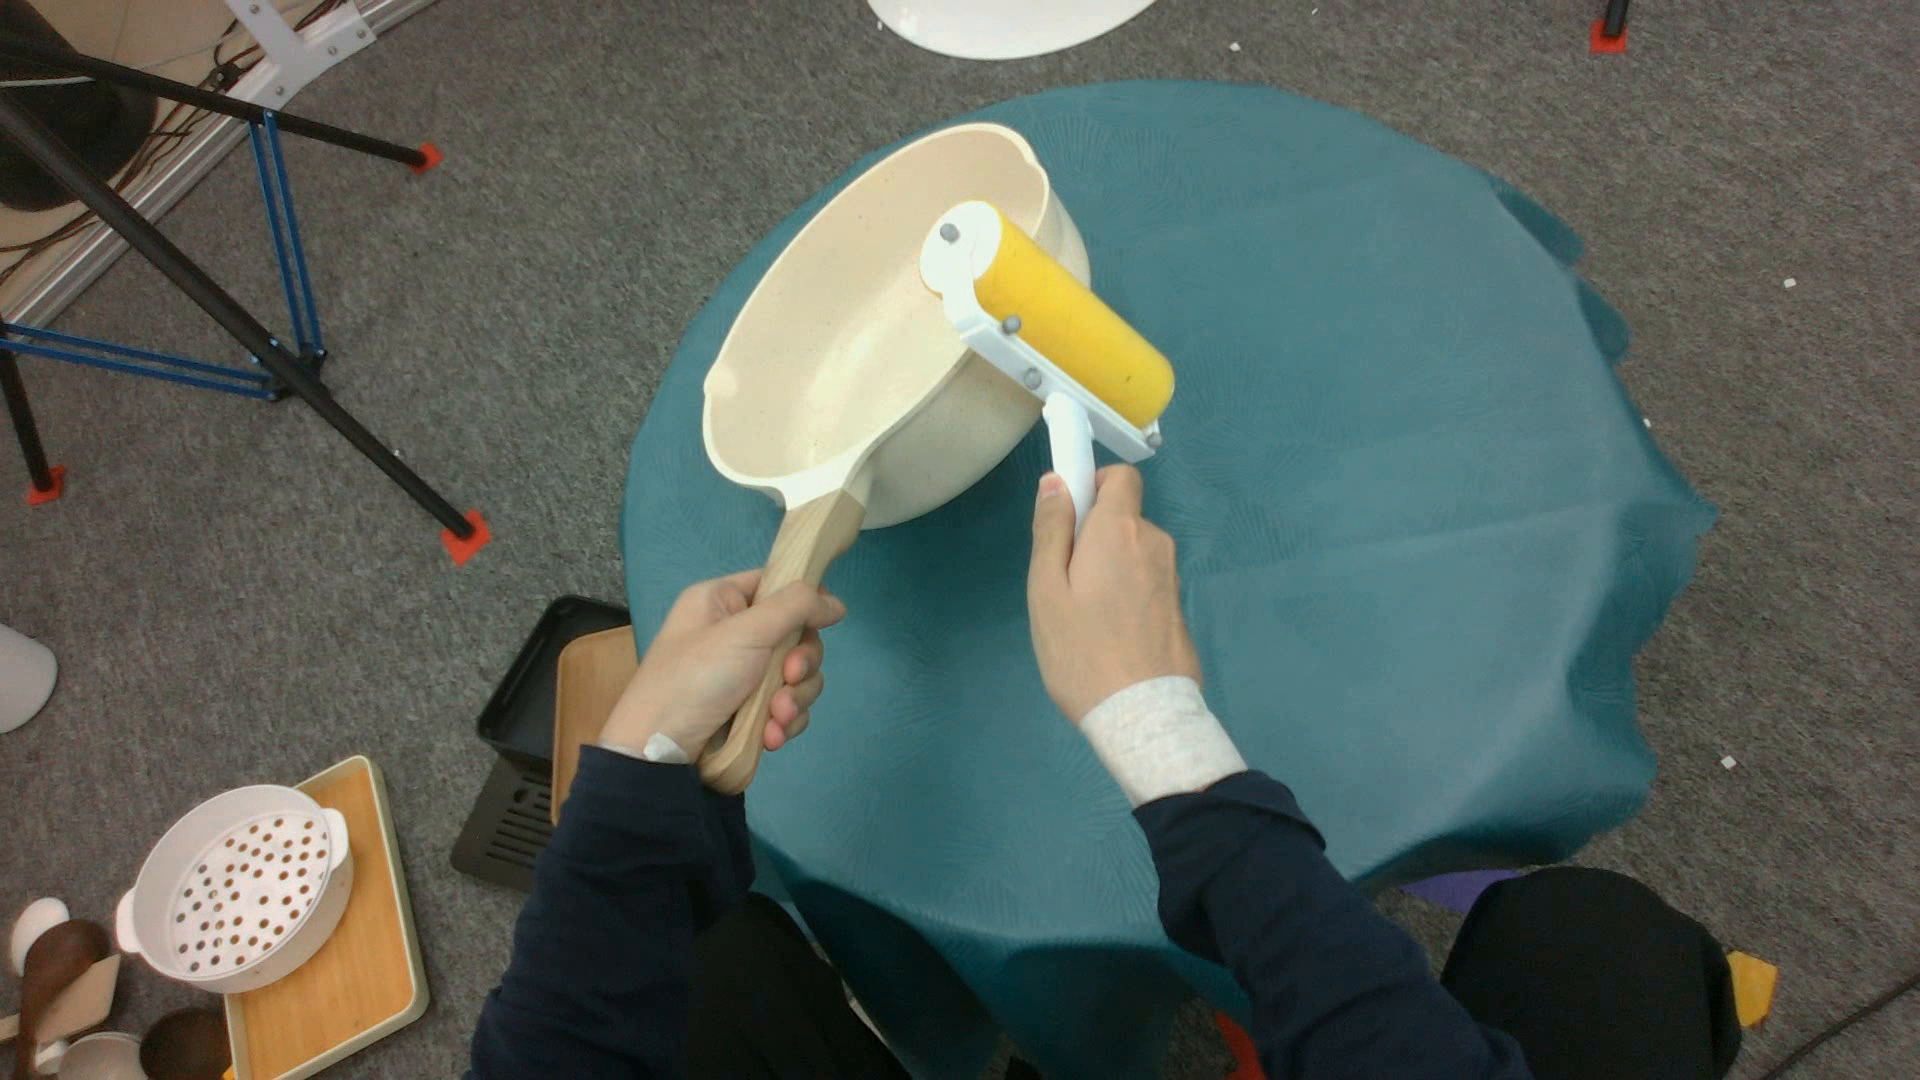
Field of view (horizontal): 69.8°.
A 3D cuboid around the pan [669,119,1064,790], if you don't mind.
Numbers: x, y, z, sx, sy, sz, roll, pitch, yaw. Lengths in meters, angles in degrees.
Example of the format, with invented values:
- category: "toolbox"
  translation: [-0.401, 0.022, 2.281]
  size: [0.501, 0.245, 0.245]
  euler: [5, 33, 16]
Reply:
- category: "pan"
  translation: [-0.062, -0.050, 0.742]
  size: [0.262, 0.102, 0.437]
  euler: [-19, 47, 31]

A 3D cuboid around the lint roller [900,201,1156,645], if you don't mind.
- category: "lint roller"
  translation: [0.052, -0.046, 0.644]
  size: [0.051, 0.174, 0.192]
  euler: [-30, 57, 25]
